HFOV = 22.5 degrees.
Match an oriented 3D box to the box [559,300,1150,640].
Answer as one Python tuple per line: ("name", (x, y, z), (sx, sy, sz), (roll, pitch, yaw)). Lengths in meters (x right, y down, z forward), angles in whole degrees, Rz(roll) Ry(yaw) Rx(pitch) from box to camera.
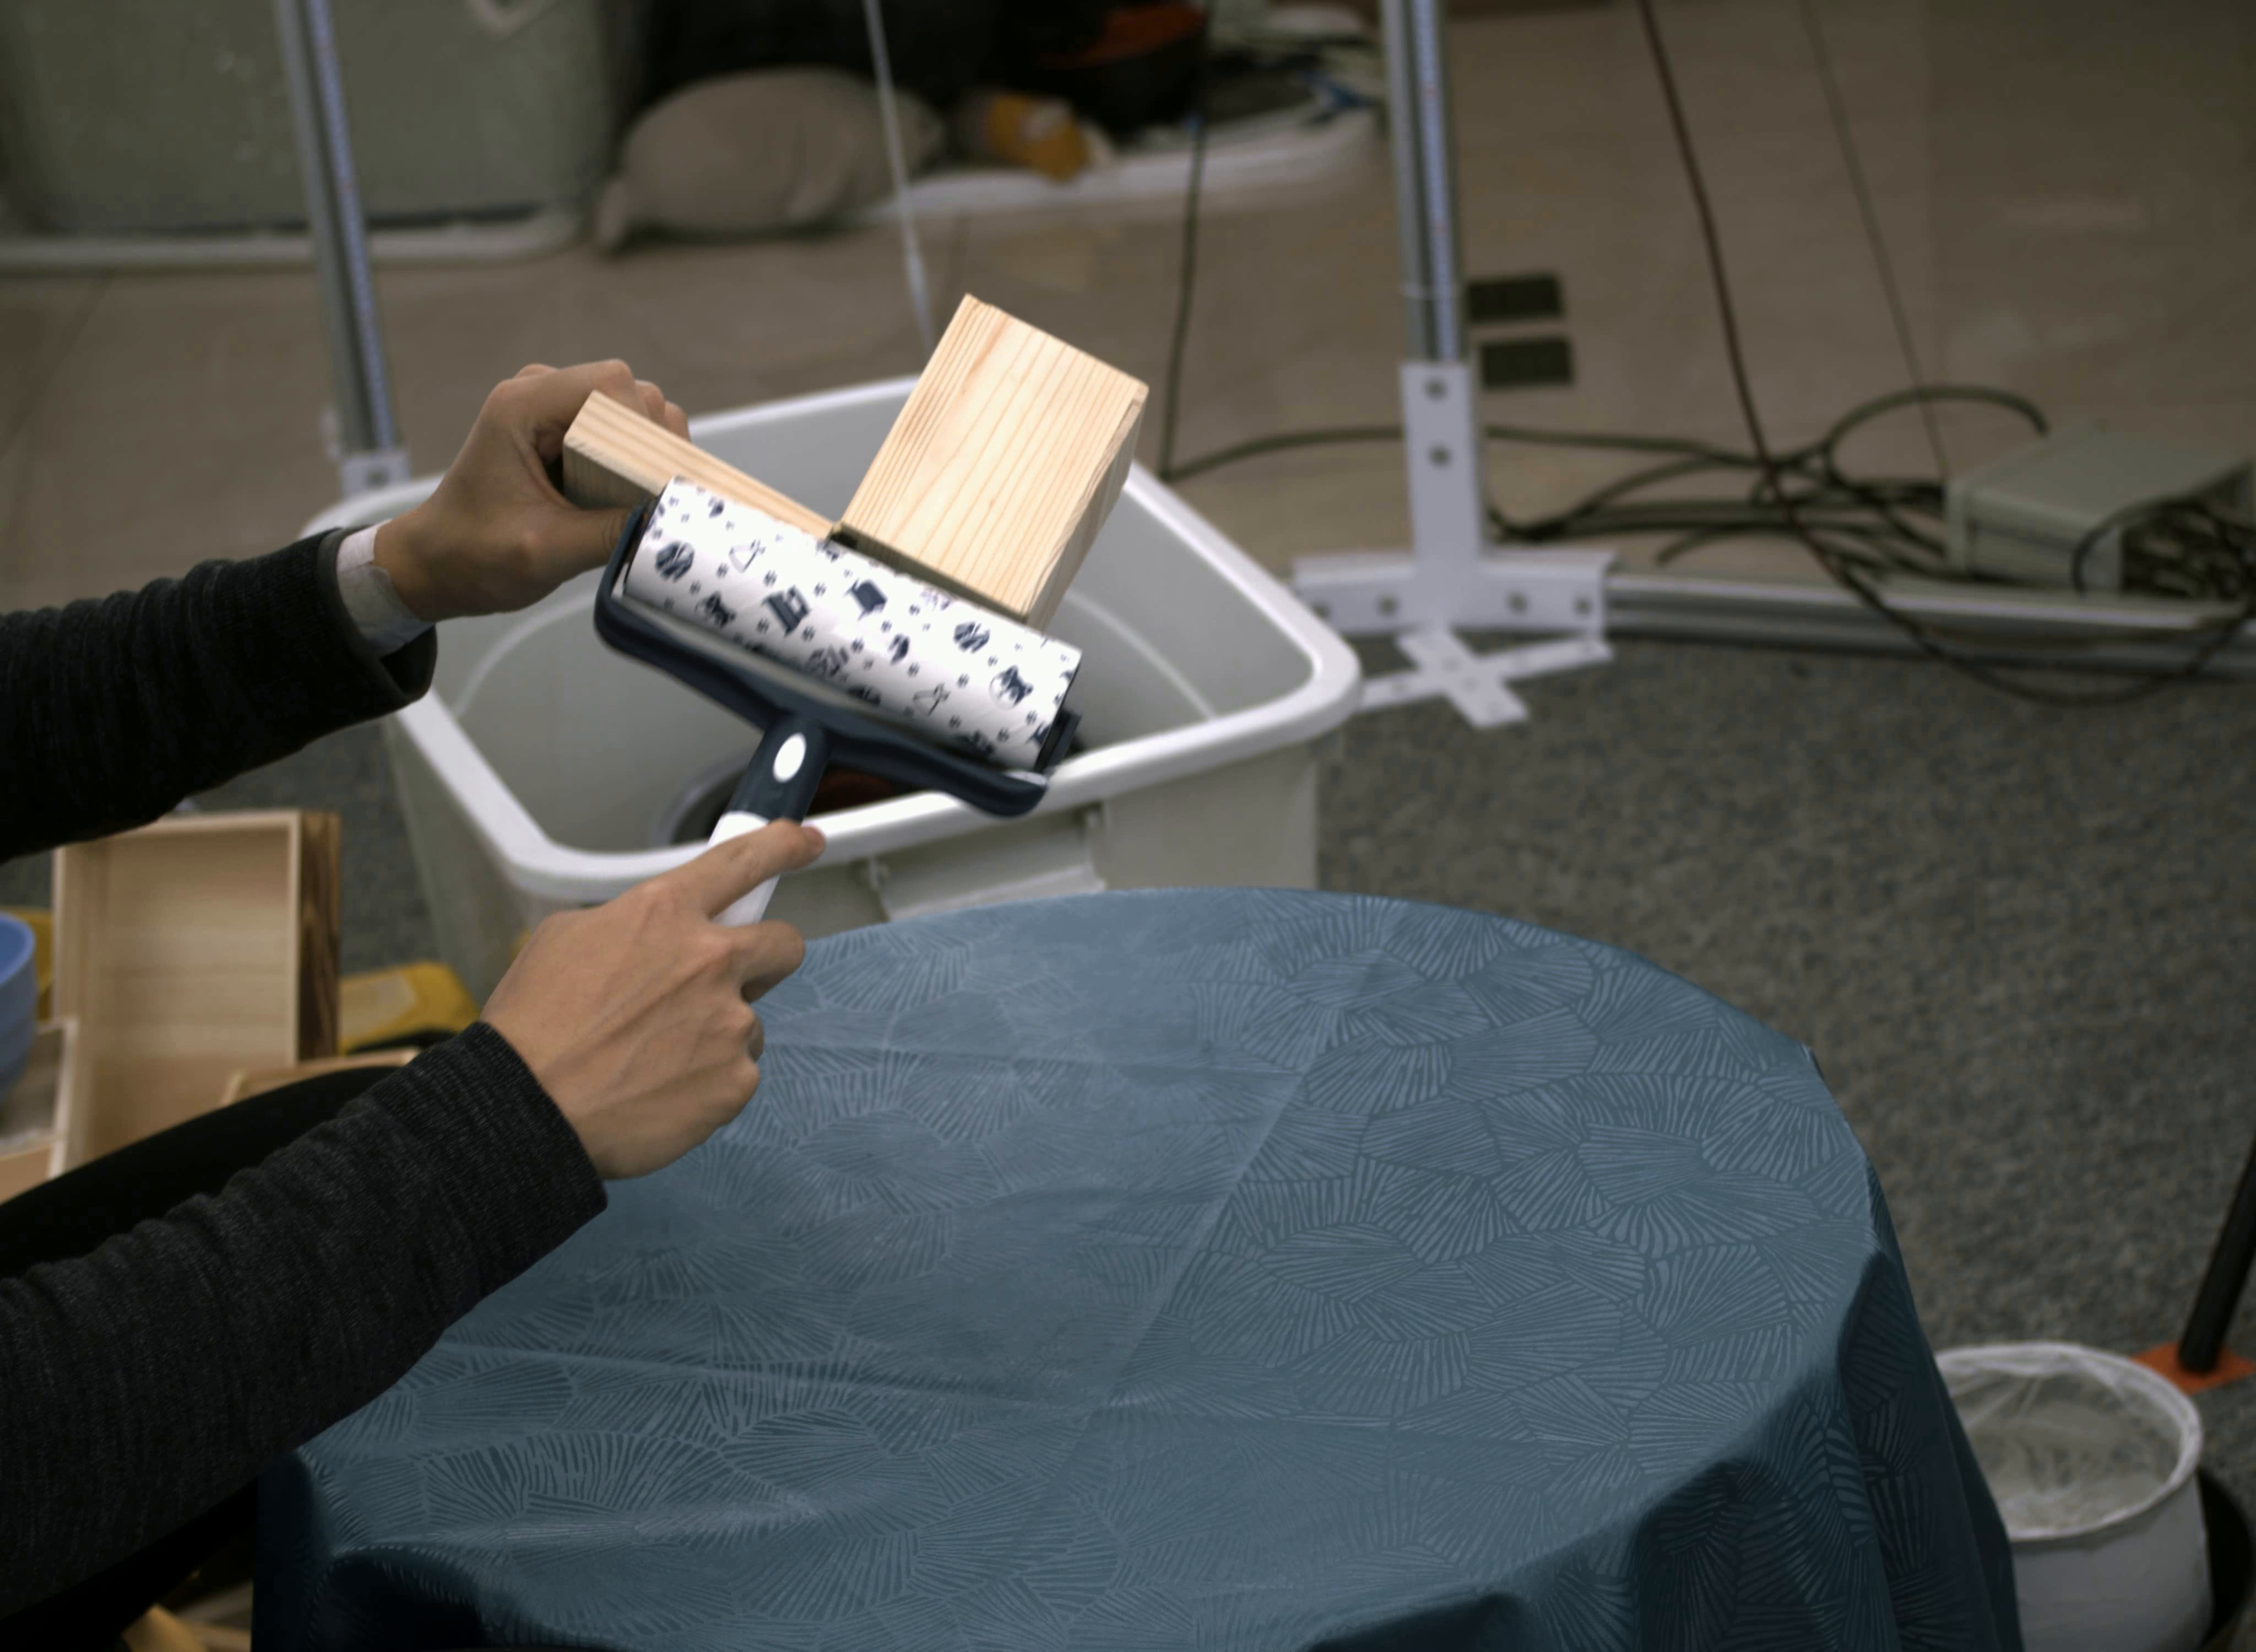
("box", (-0.103, -0.137, 2.100), (0.184, 0.103, 0.133), (28, 76, 2))

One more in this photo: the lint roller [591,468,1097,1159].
("lint roller", (-0.129, 0.006, 1.967), (0.176, 0.051, 0.244), (24, 62, -3))
